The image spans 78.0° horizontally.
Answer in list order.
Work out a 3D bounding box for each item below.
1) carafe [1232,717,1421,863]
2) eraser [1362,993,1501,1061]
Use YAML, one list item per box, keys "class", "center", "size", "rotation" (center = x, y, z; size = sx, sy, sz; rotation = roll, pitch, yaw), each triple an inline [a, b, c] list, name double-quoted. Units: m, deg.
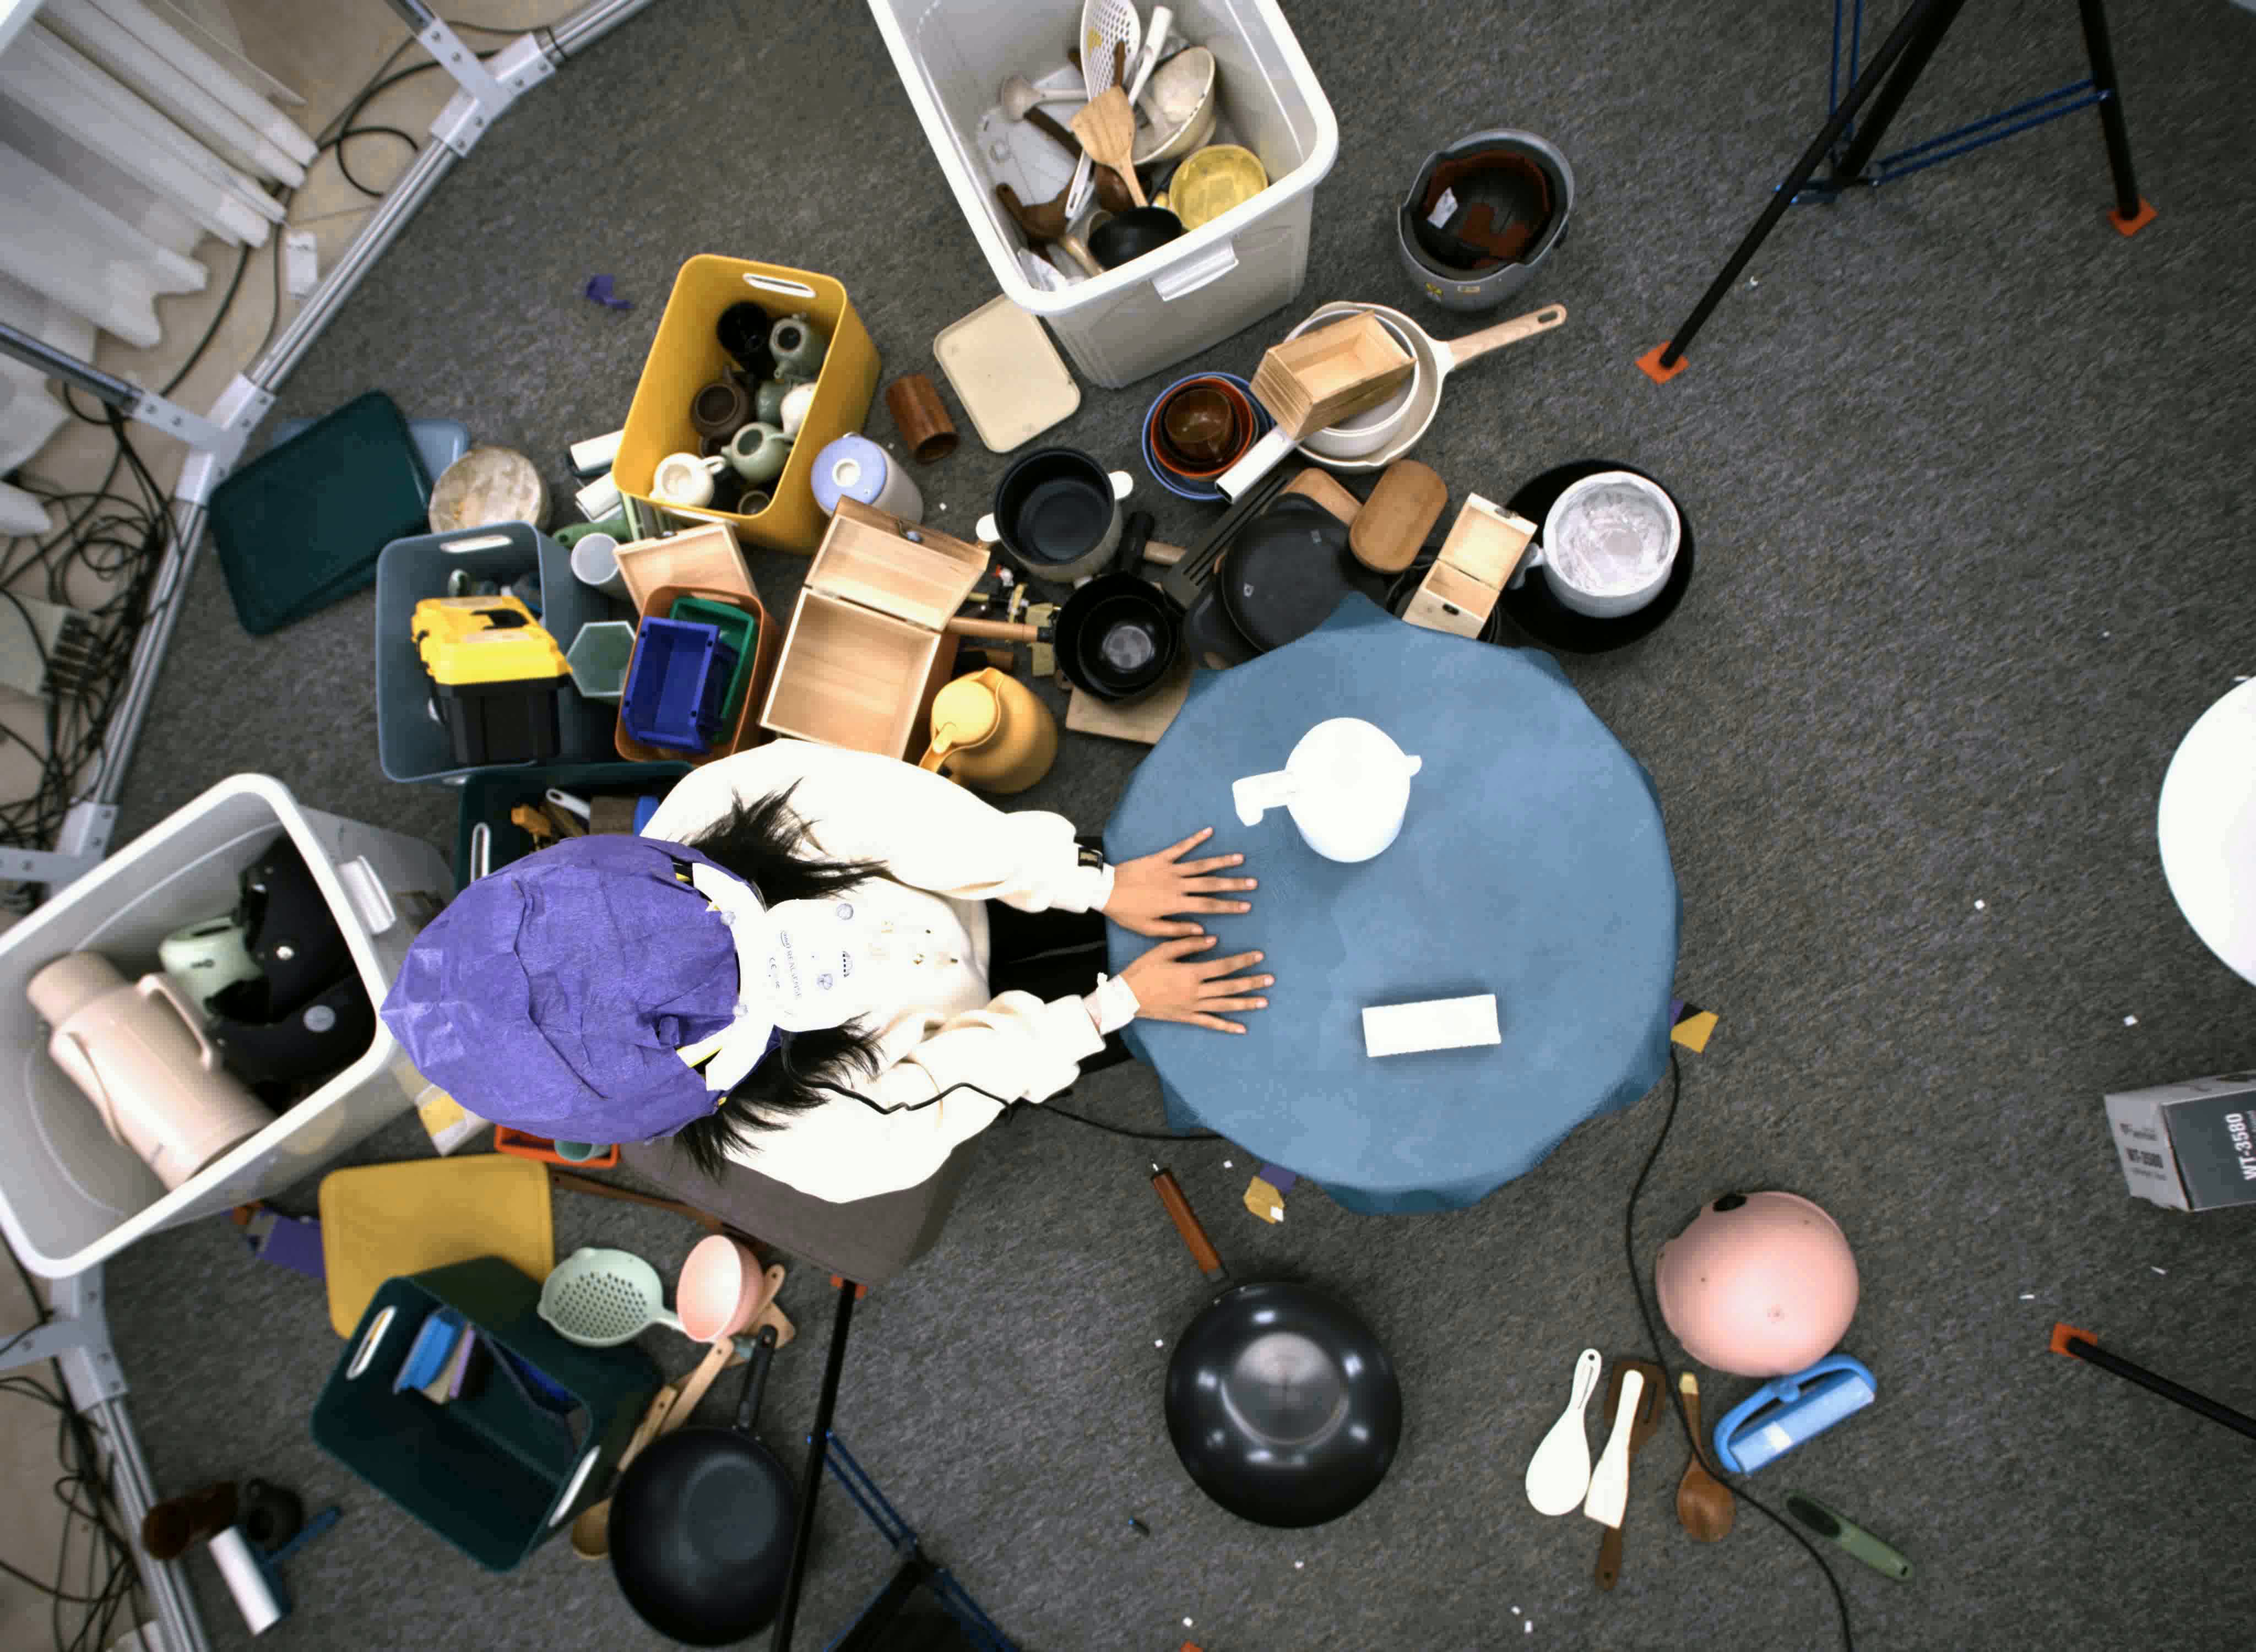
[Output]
- class: "carafe"
  center: [0.195, -0.030, 1.345]
  size: [0.173, 0.269, 0.123]
  rotation: [-10, 85, 9]
- class: "eraser"
  center: [0.312, 0.205, 1.422]
  size: [0.135, 0.046, 0.049]
  rotation: [-10, 87, 10]
